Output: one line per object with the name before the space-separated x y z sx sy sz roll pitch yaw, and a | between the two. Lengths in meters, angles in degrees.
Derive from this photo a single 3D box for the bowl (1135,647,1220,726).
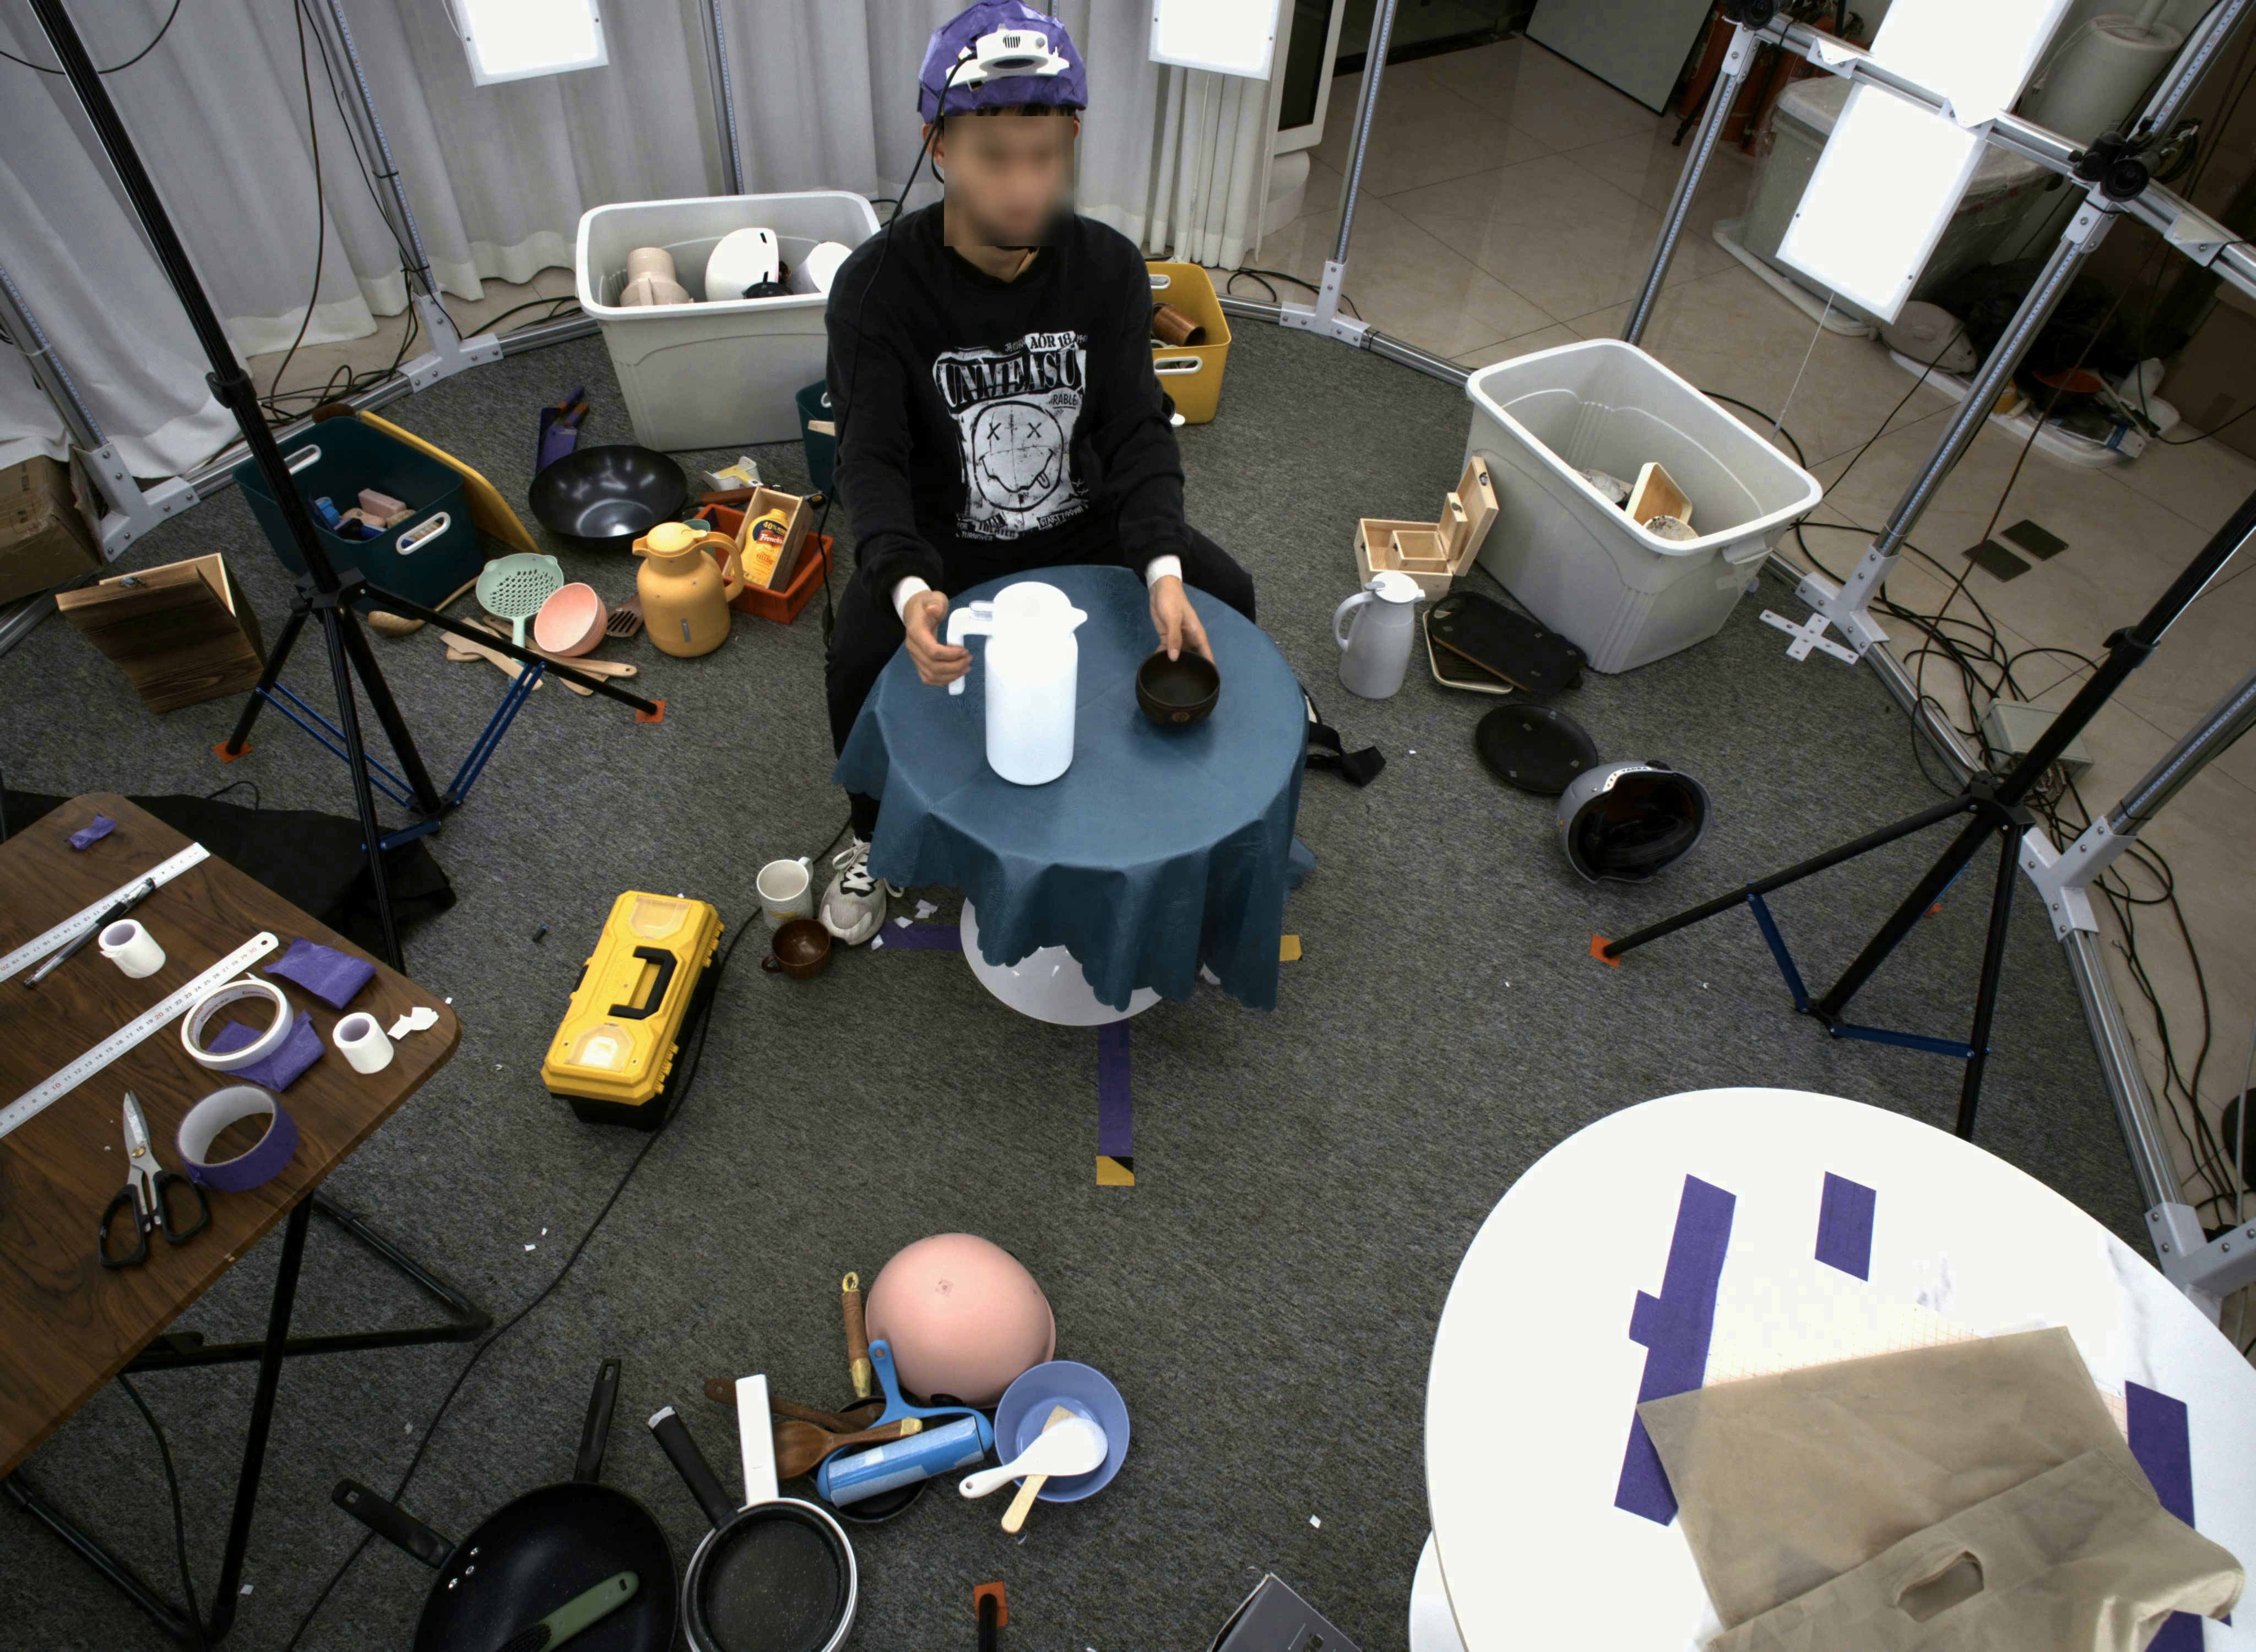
bowl | 0.068 -0.186 1.786 0.118 0.068 0.121 1 49 -2

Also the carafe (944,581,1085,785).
carafe | -0.144 -0.179 1.643 0.172 0.262 0.127 1 51 -3
